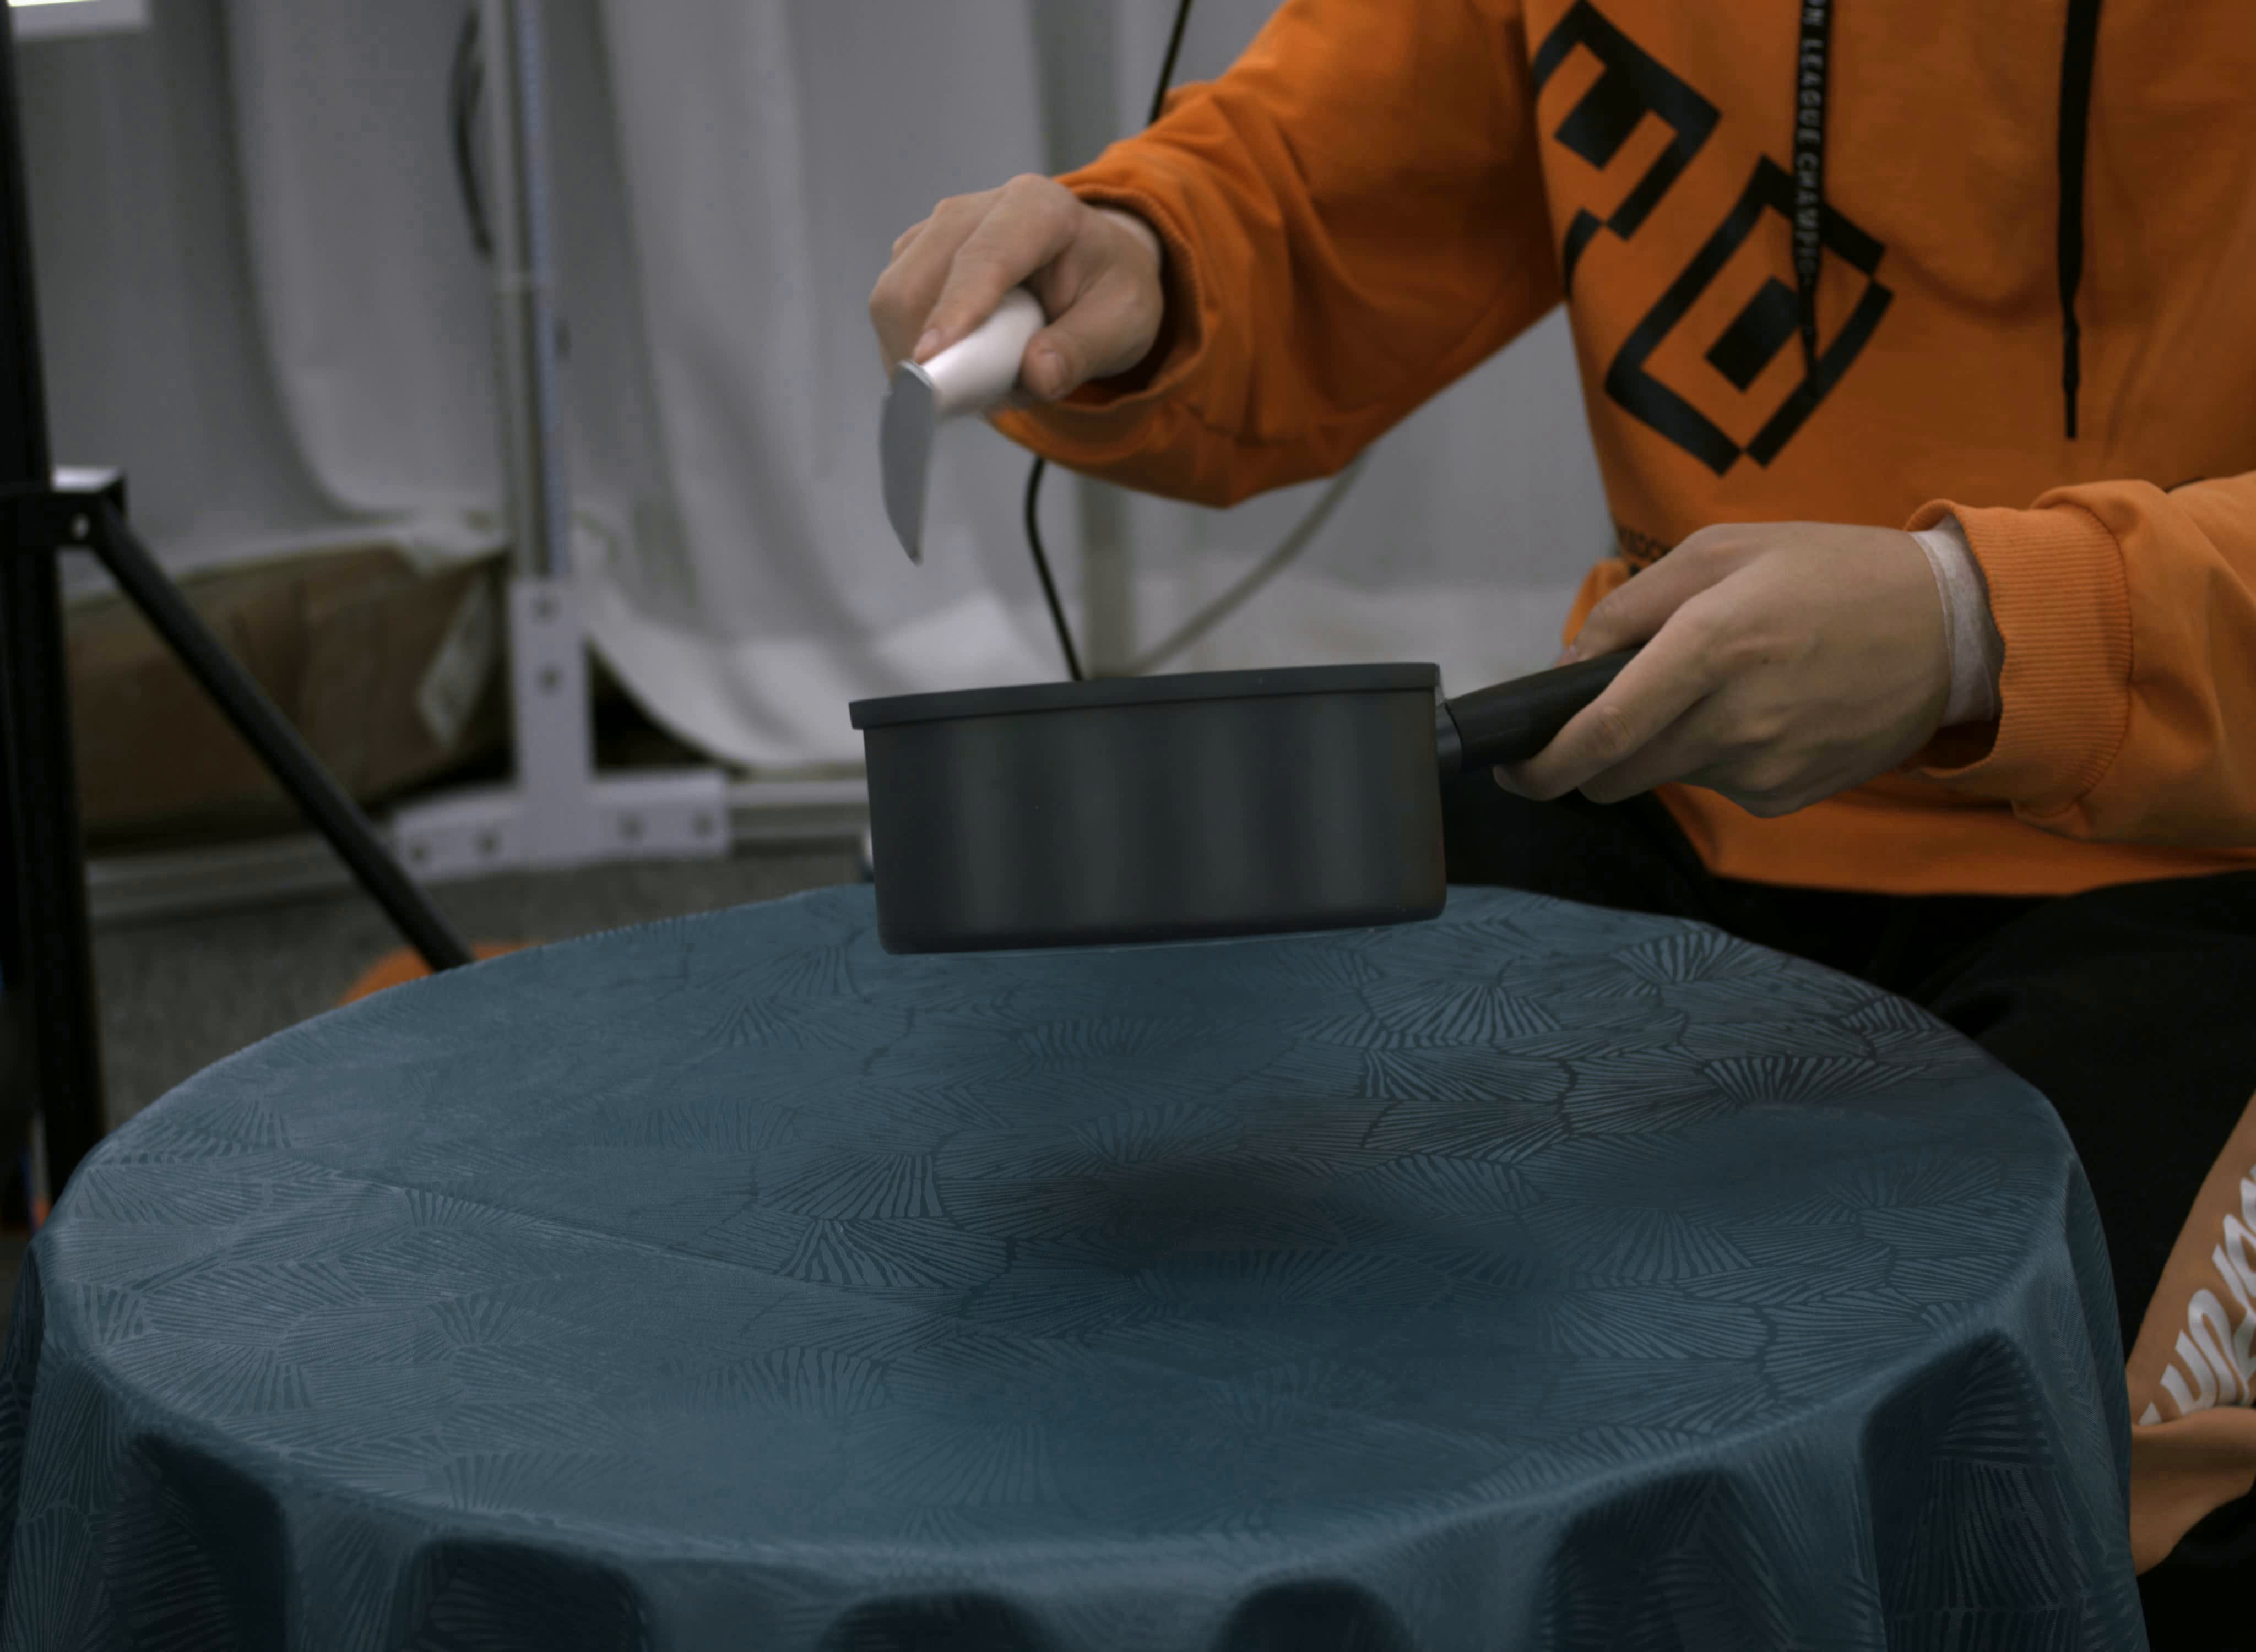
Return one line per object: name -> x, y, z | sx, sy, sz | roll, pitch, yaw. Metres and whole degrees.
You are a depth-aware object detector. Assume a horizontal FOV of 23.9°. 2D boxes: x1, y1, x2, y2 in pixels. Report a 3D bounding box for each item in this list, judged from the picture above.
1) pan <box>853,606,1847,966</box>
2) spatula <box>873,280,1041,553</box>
pan -> 0.076, -0.011, 1.555 | 0.321, 0.087, 0.175 | -5, 1, -29
spatula -> -0.057, -0.134, 1.639 | 0.032, 0.059, 0.287 | 11, 13, 2
